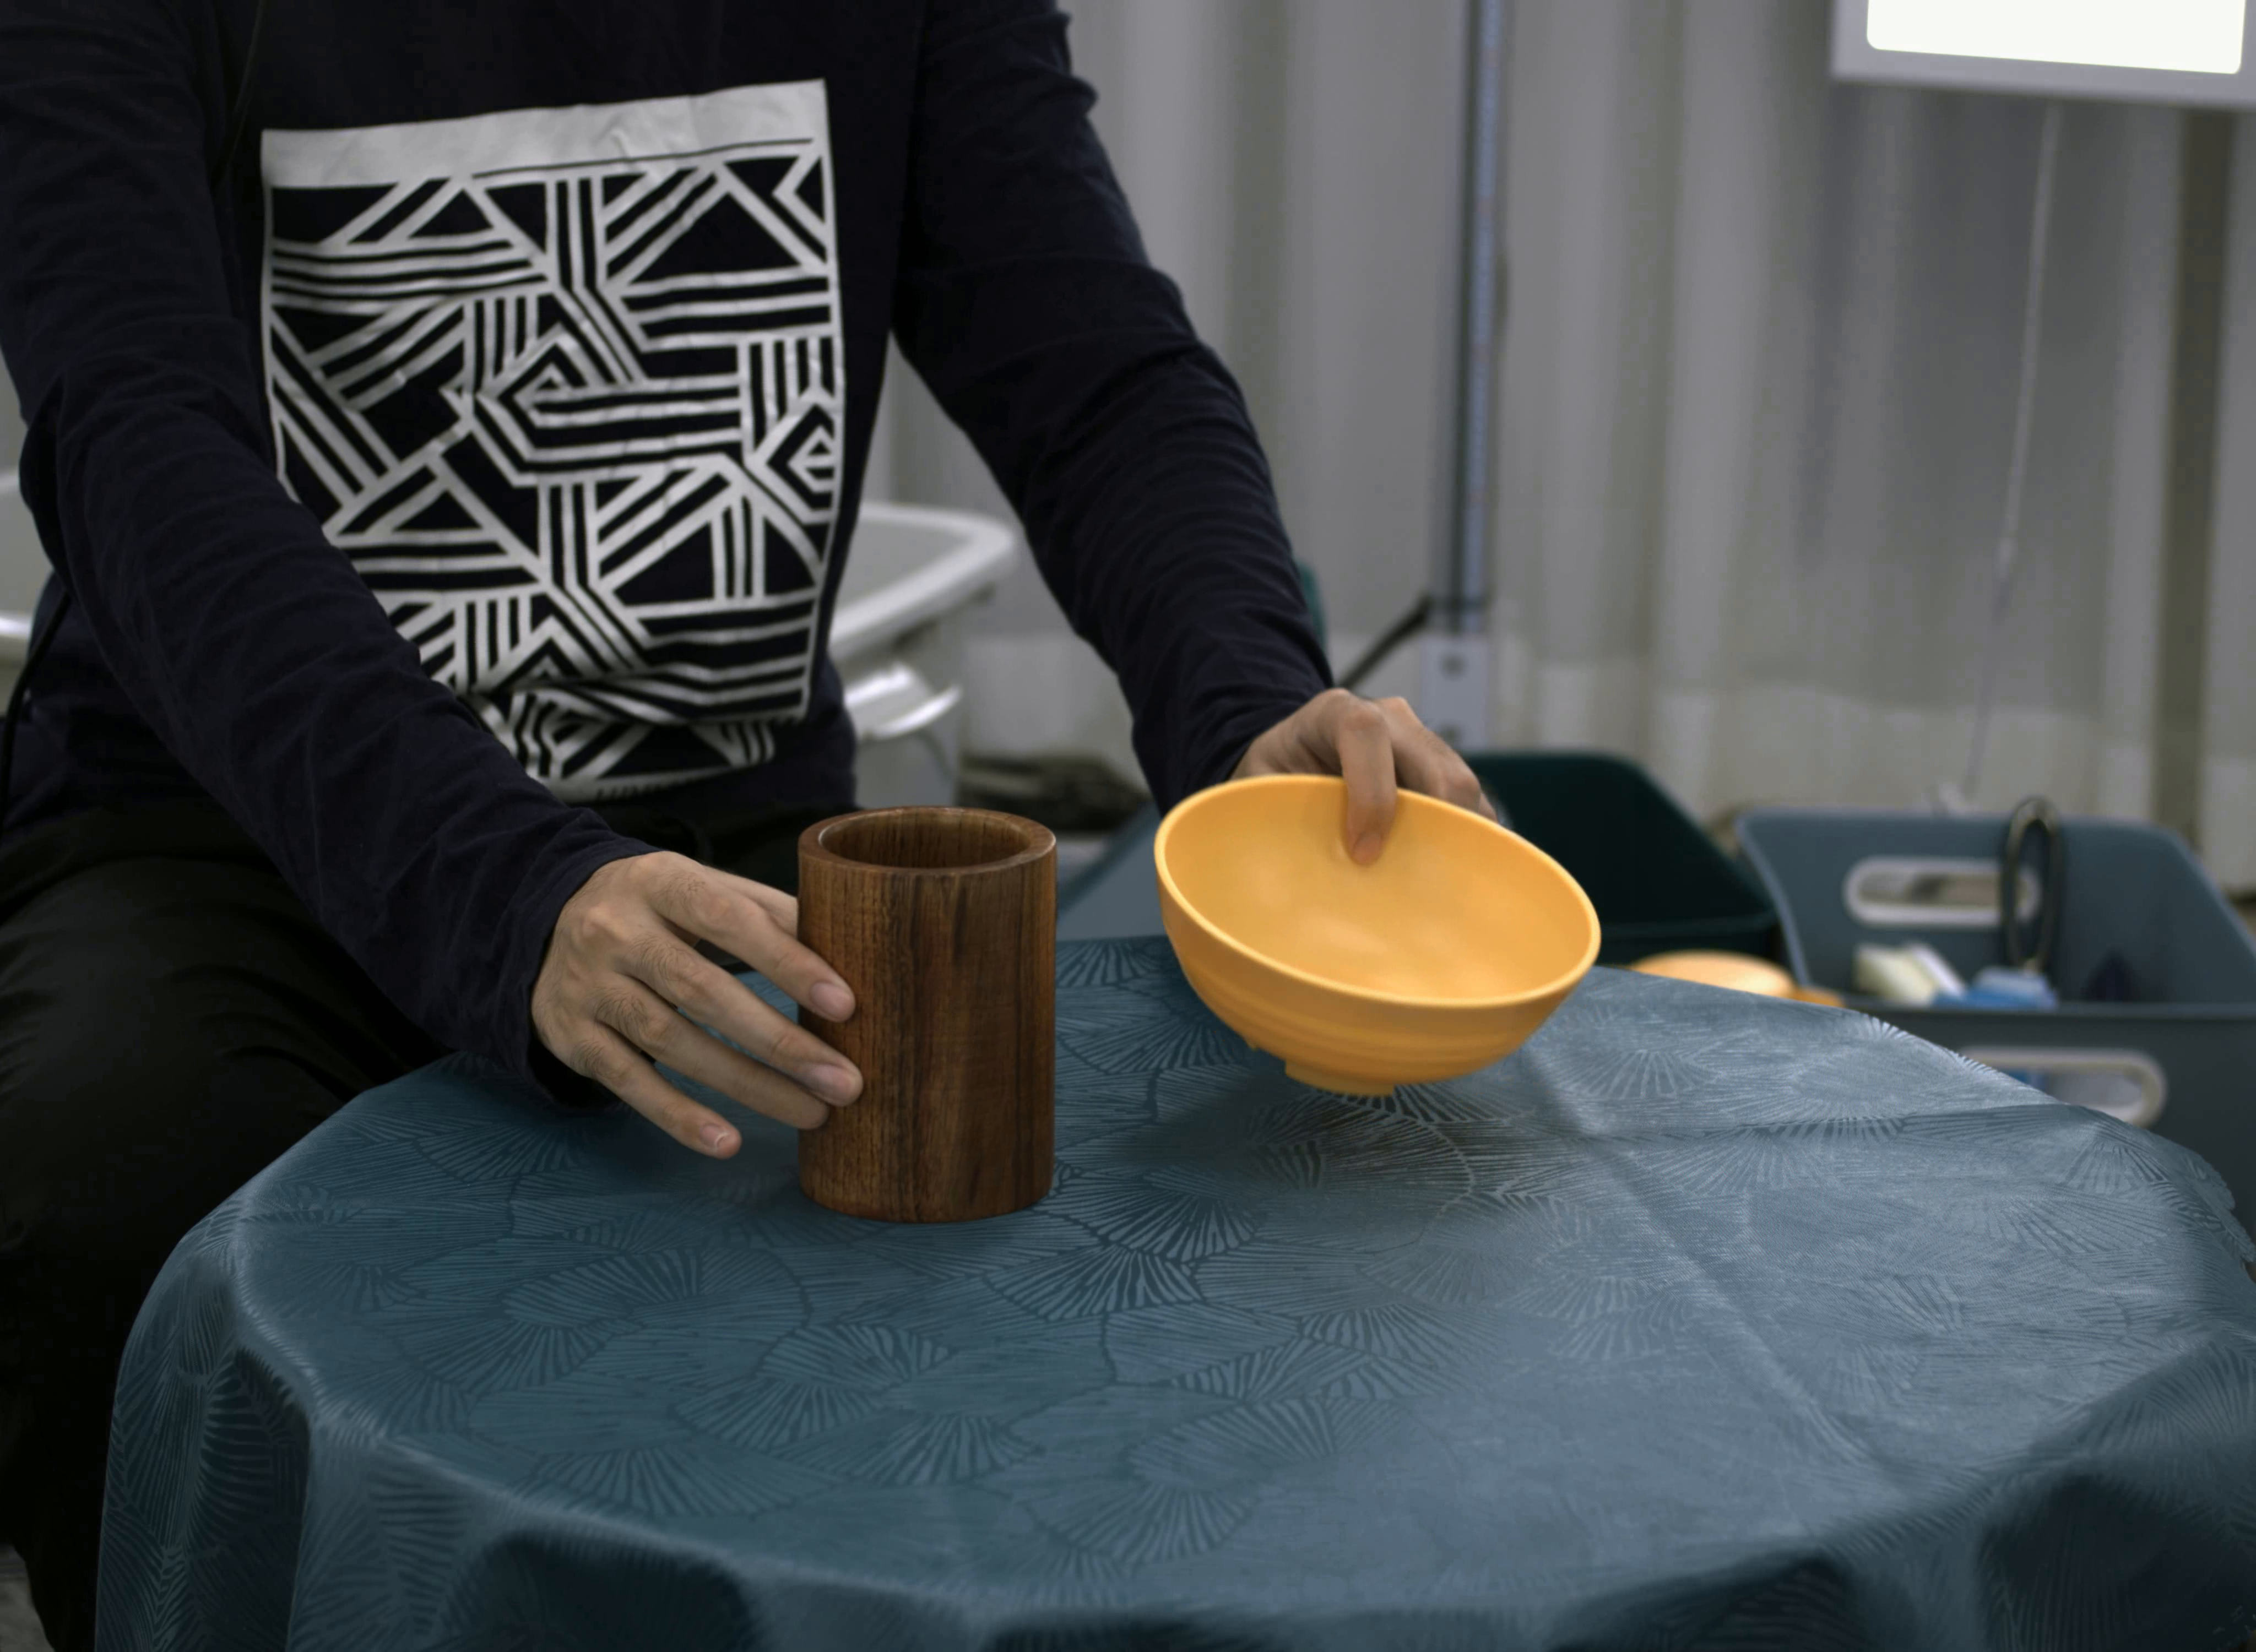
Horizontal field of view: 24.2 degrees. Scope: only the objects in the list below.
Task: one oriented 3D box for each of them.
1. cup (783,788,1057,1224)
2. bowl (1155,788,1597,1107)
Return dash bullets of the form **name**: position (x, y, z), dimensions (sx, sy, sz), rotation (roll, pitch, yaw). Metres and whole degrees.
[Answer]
- **cup**: position (-0.065, 0.054, 1.614), dimensions (0.087, 0.119, 0.087), rotation (4, 14, 0)
- **bowl**: position (0.073, 0.048, 1.681), dimensions (0.145, 0.060, 0.144), rotation (11, 26, -5)
